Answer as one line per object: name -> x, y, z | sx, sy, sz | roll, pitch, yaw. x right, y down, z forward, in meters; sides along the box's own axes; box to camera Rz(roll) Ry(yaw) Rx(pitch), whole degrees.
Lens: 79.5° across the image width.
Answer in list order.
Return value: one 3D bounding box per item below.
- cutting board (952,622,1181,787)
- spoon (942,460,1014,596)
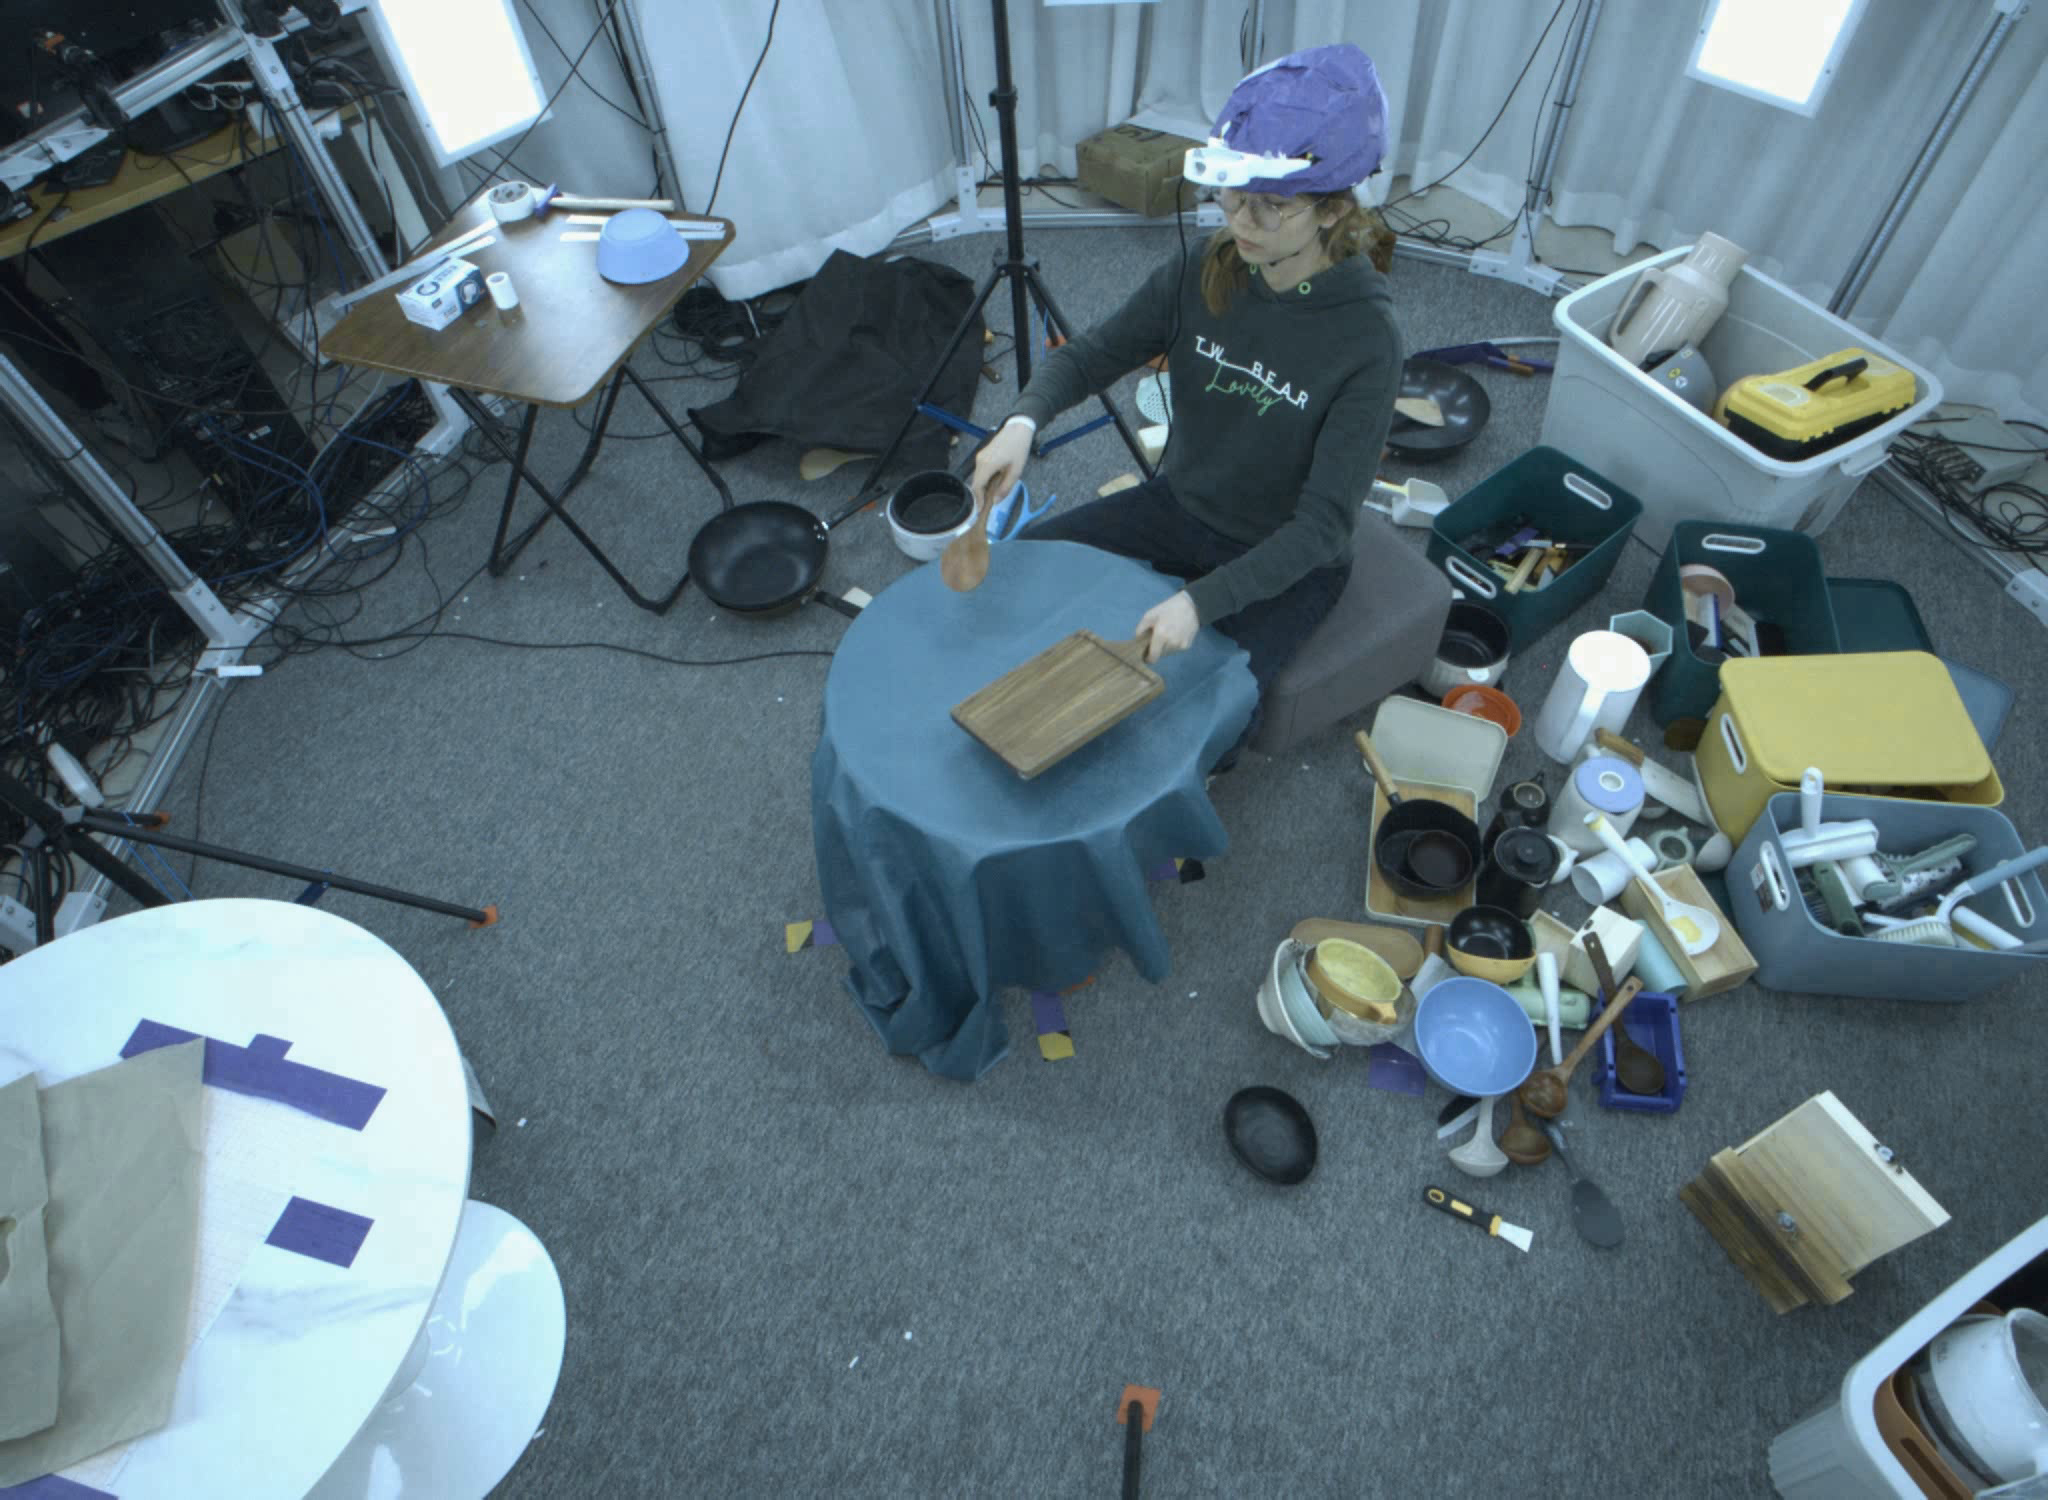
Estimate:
cutting board -> 0.087, -0.087, 1.759 | 0.355, 0.023, 0.196 | -33, 44, -19
spoon -> -0.063, -0.336, 1.848 | 0.075, 0.017, 0.216 | 22, 96, 6
